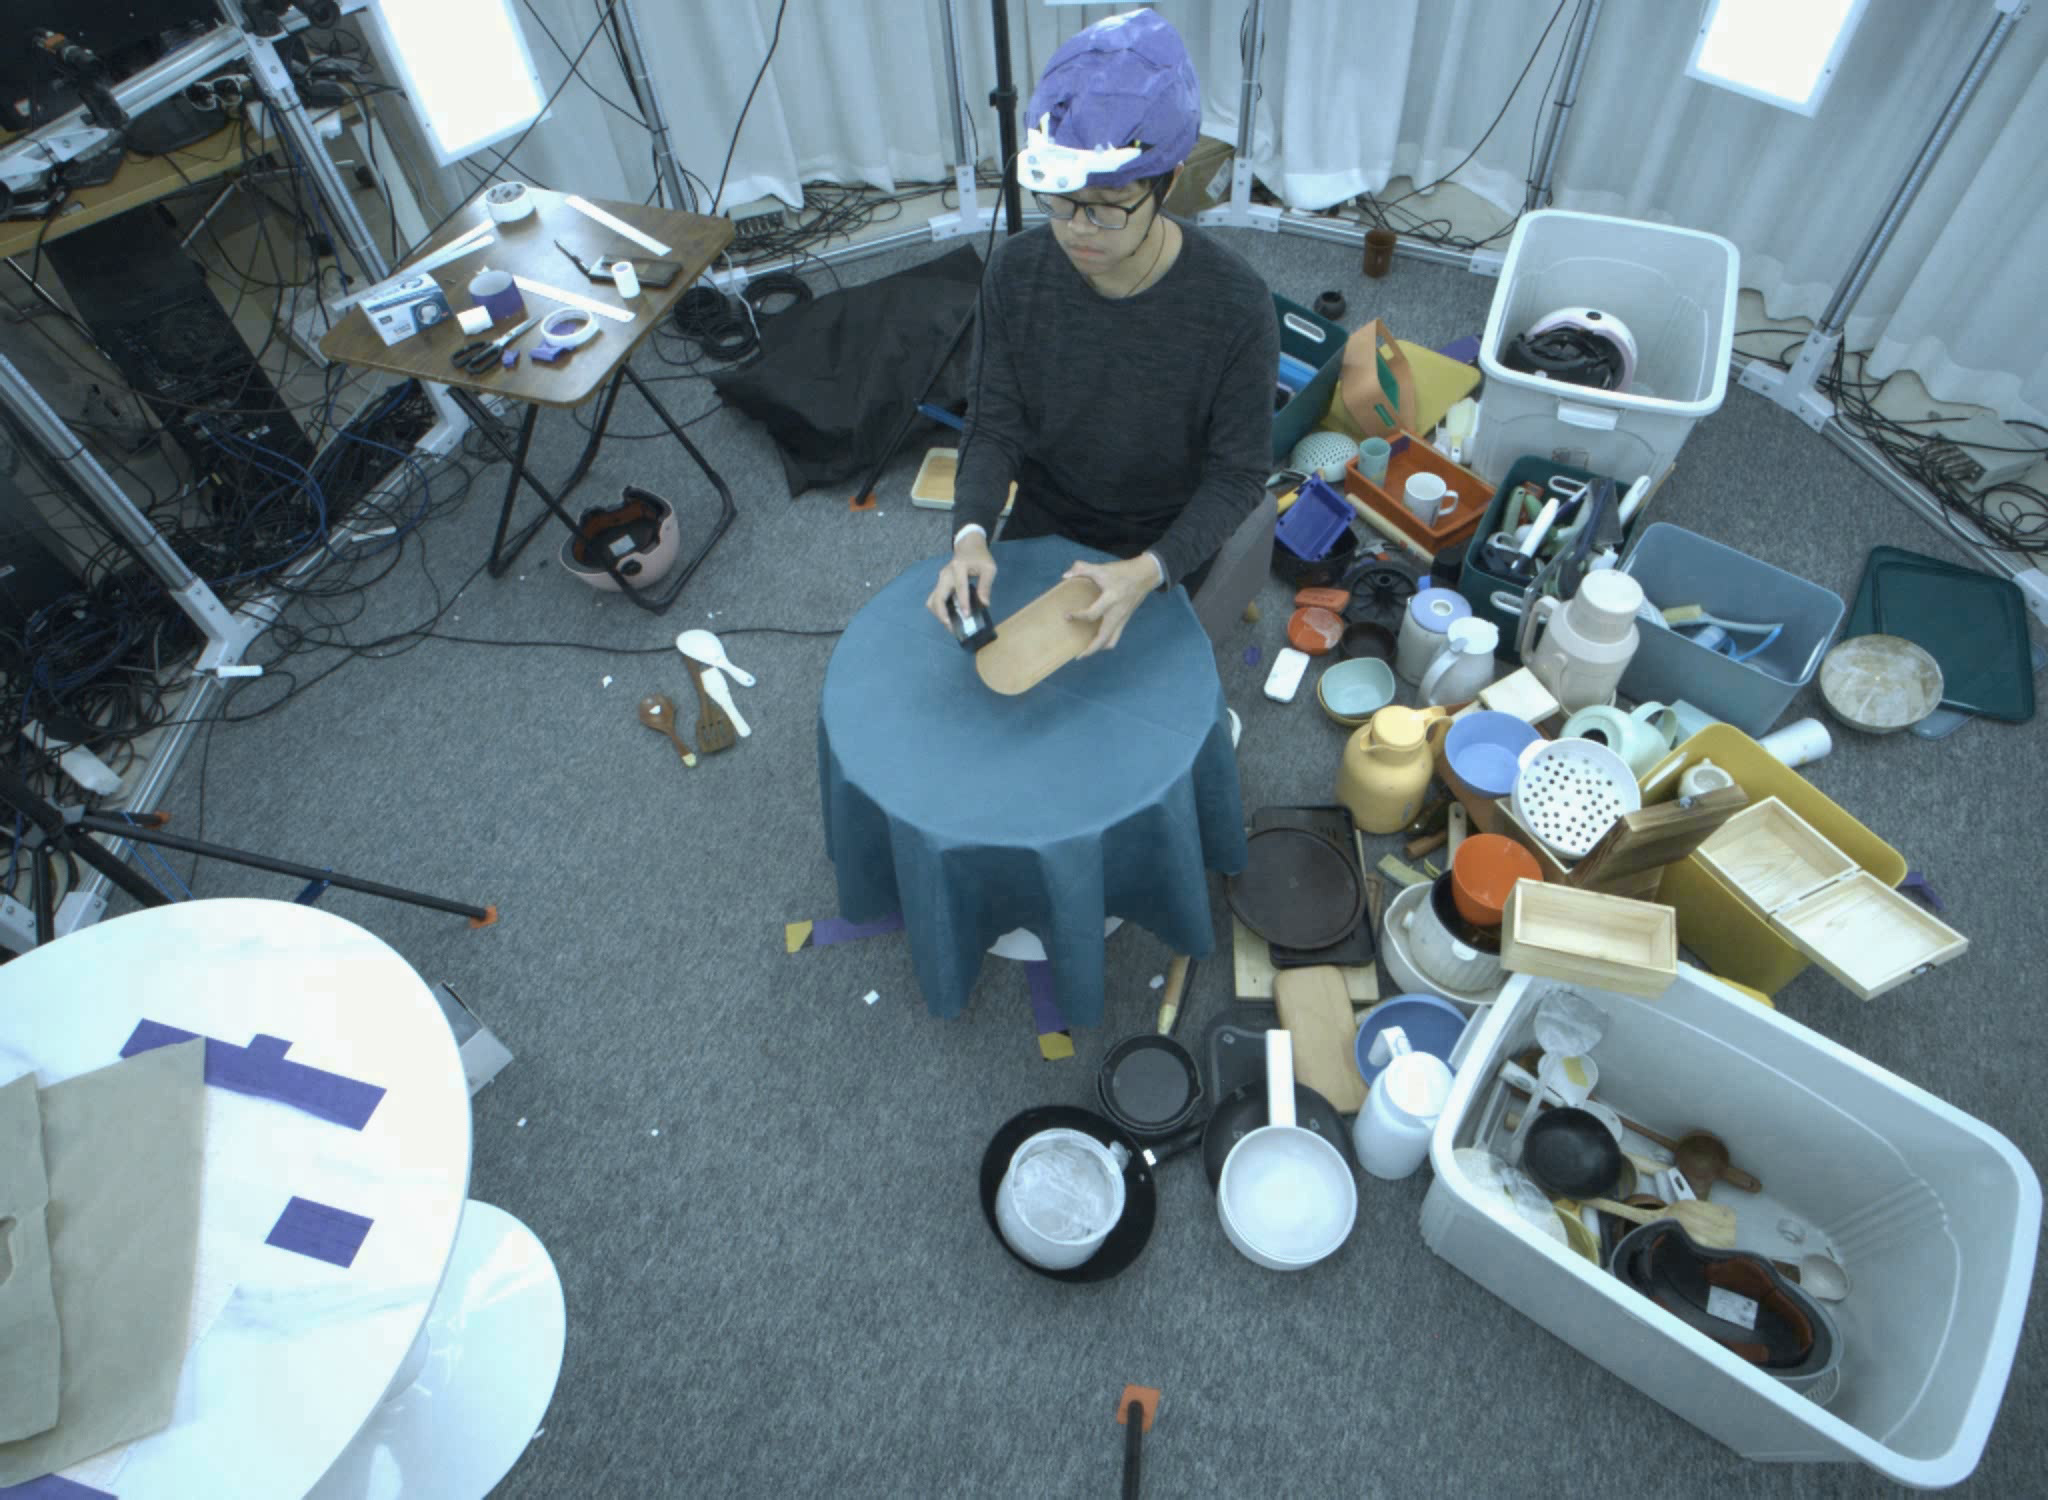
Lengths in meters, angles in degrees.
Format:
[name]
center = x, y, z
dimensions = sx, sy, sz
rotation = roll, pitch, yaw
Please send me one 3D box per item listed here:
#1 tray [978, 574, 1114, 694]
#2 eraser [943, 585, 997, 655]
[tray]
center = 0.033, -0.169, 1.781
dimensions = 0.232, 0.020, 0.103
rotation = -37, 106, -17
[eraser]
center = -0.079, -0.188, 1.762
dimensions = 0.053, 0.031, 0.123
rotation = -31, 39, 6
